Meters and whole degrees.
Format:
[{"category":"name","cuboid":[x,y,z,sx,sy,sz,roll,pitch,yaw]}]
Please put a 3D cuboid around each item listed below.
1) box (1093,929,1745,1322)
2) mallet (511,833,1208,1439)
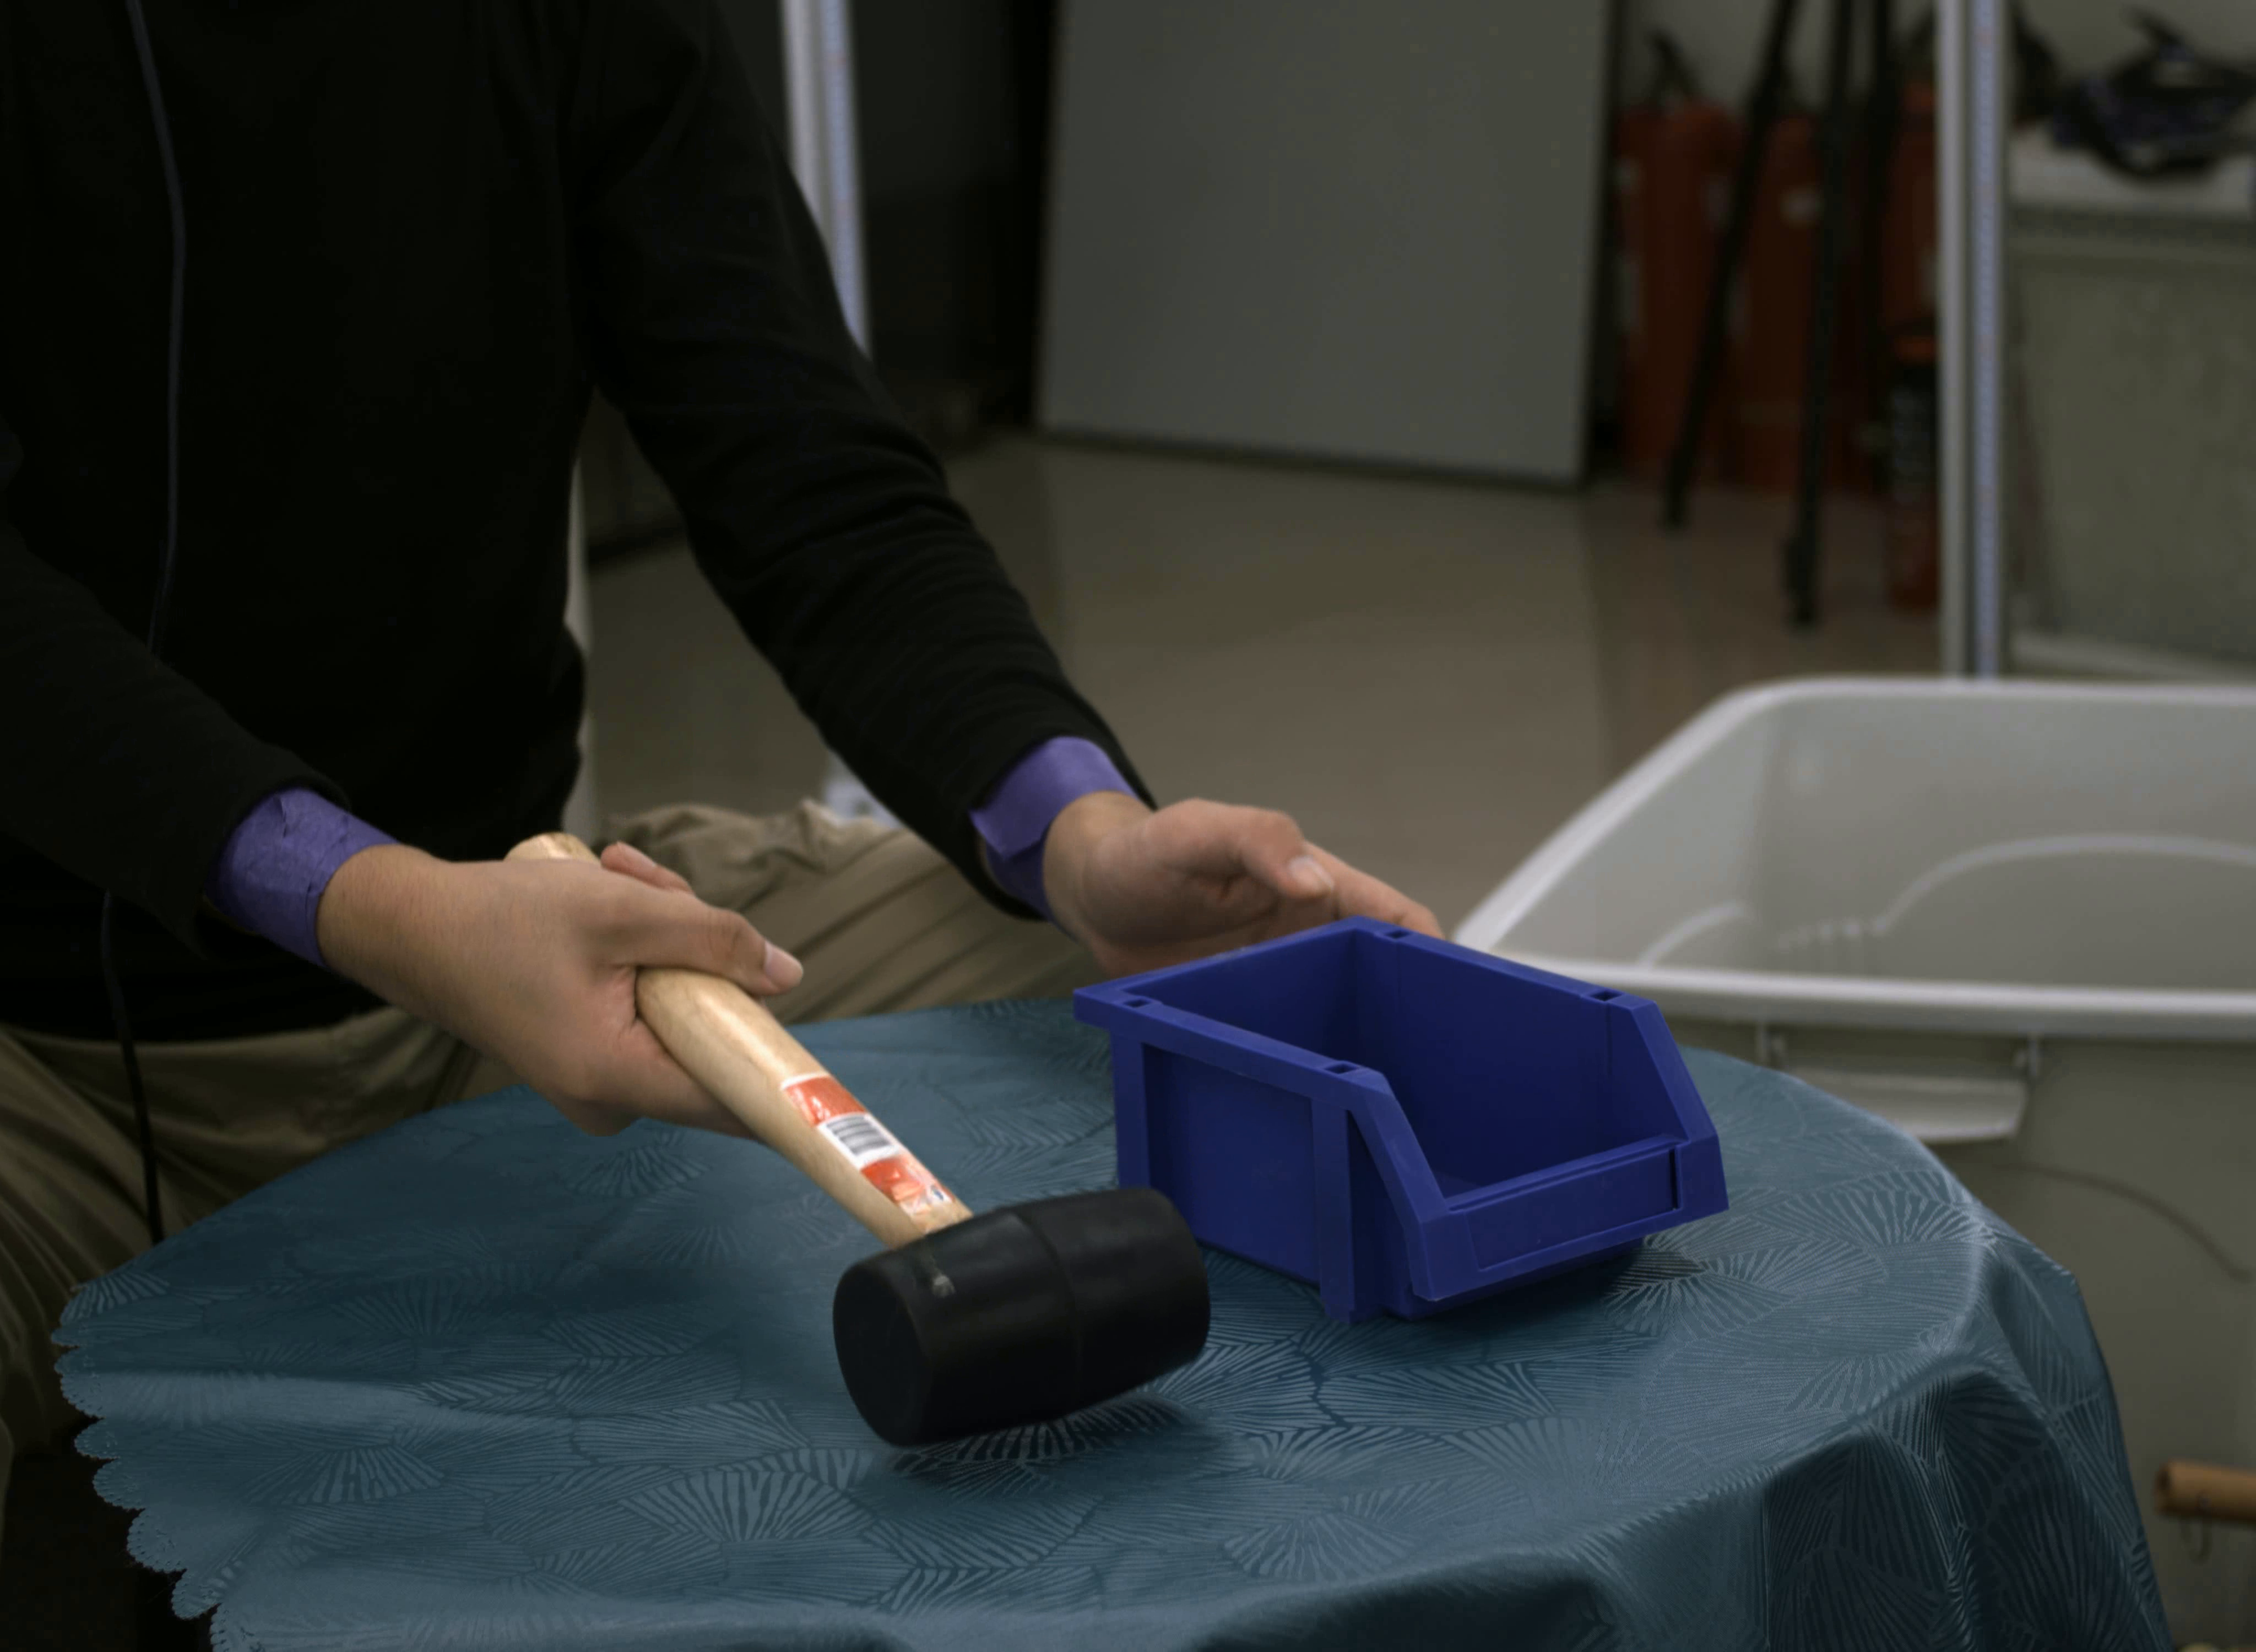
[{"category":"box","cuboid":[0.091,0.094,1.686,0.122,0.083,0.181,-13,13,-32]},{"category":"mallet","cuboid":[-0.102,0.076,1.649,0.099,0.065,0.343,-10,32,-30]}]
